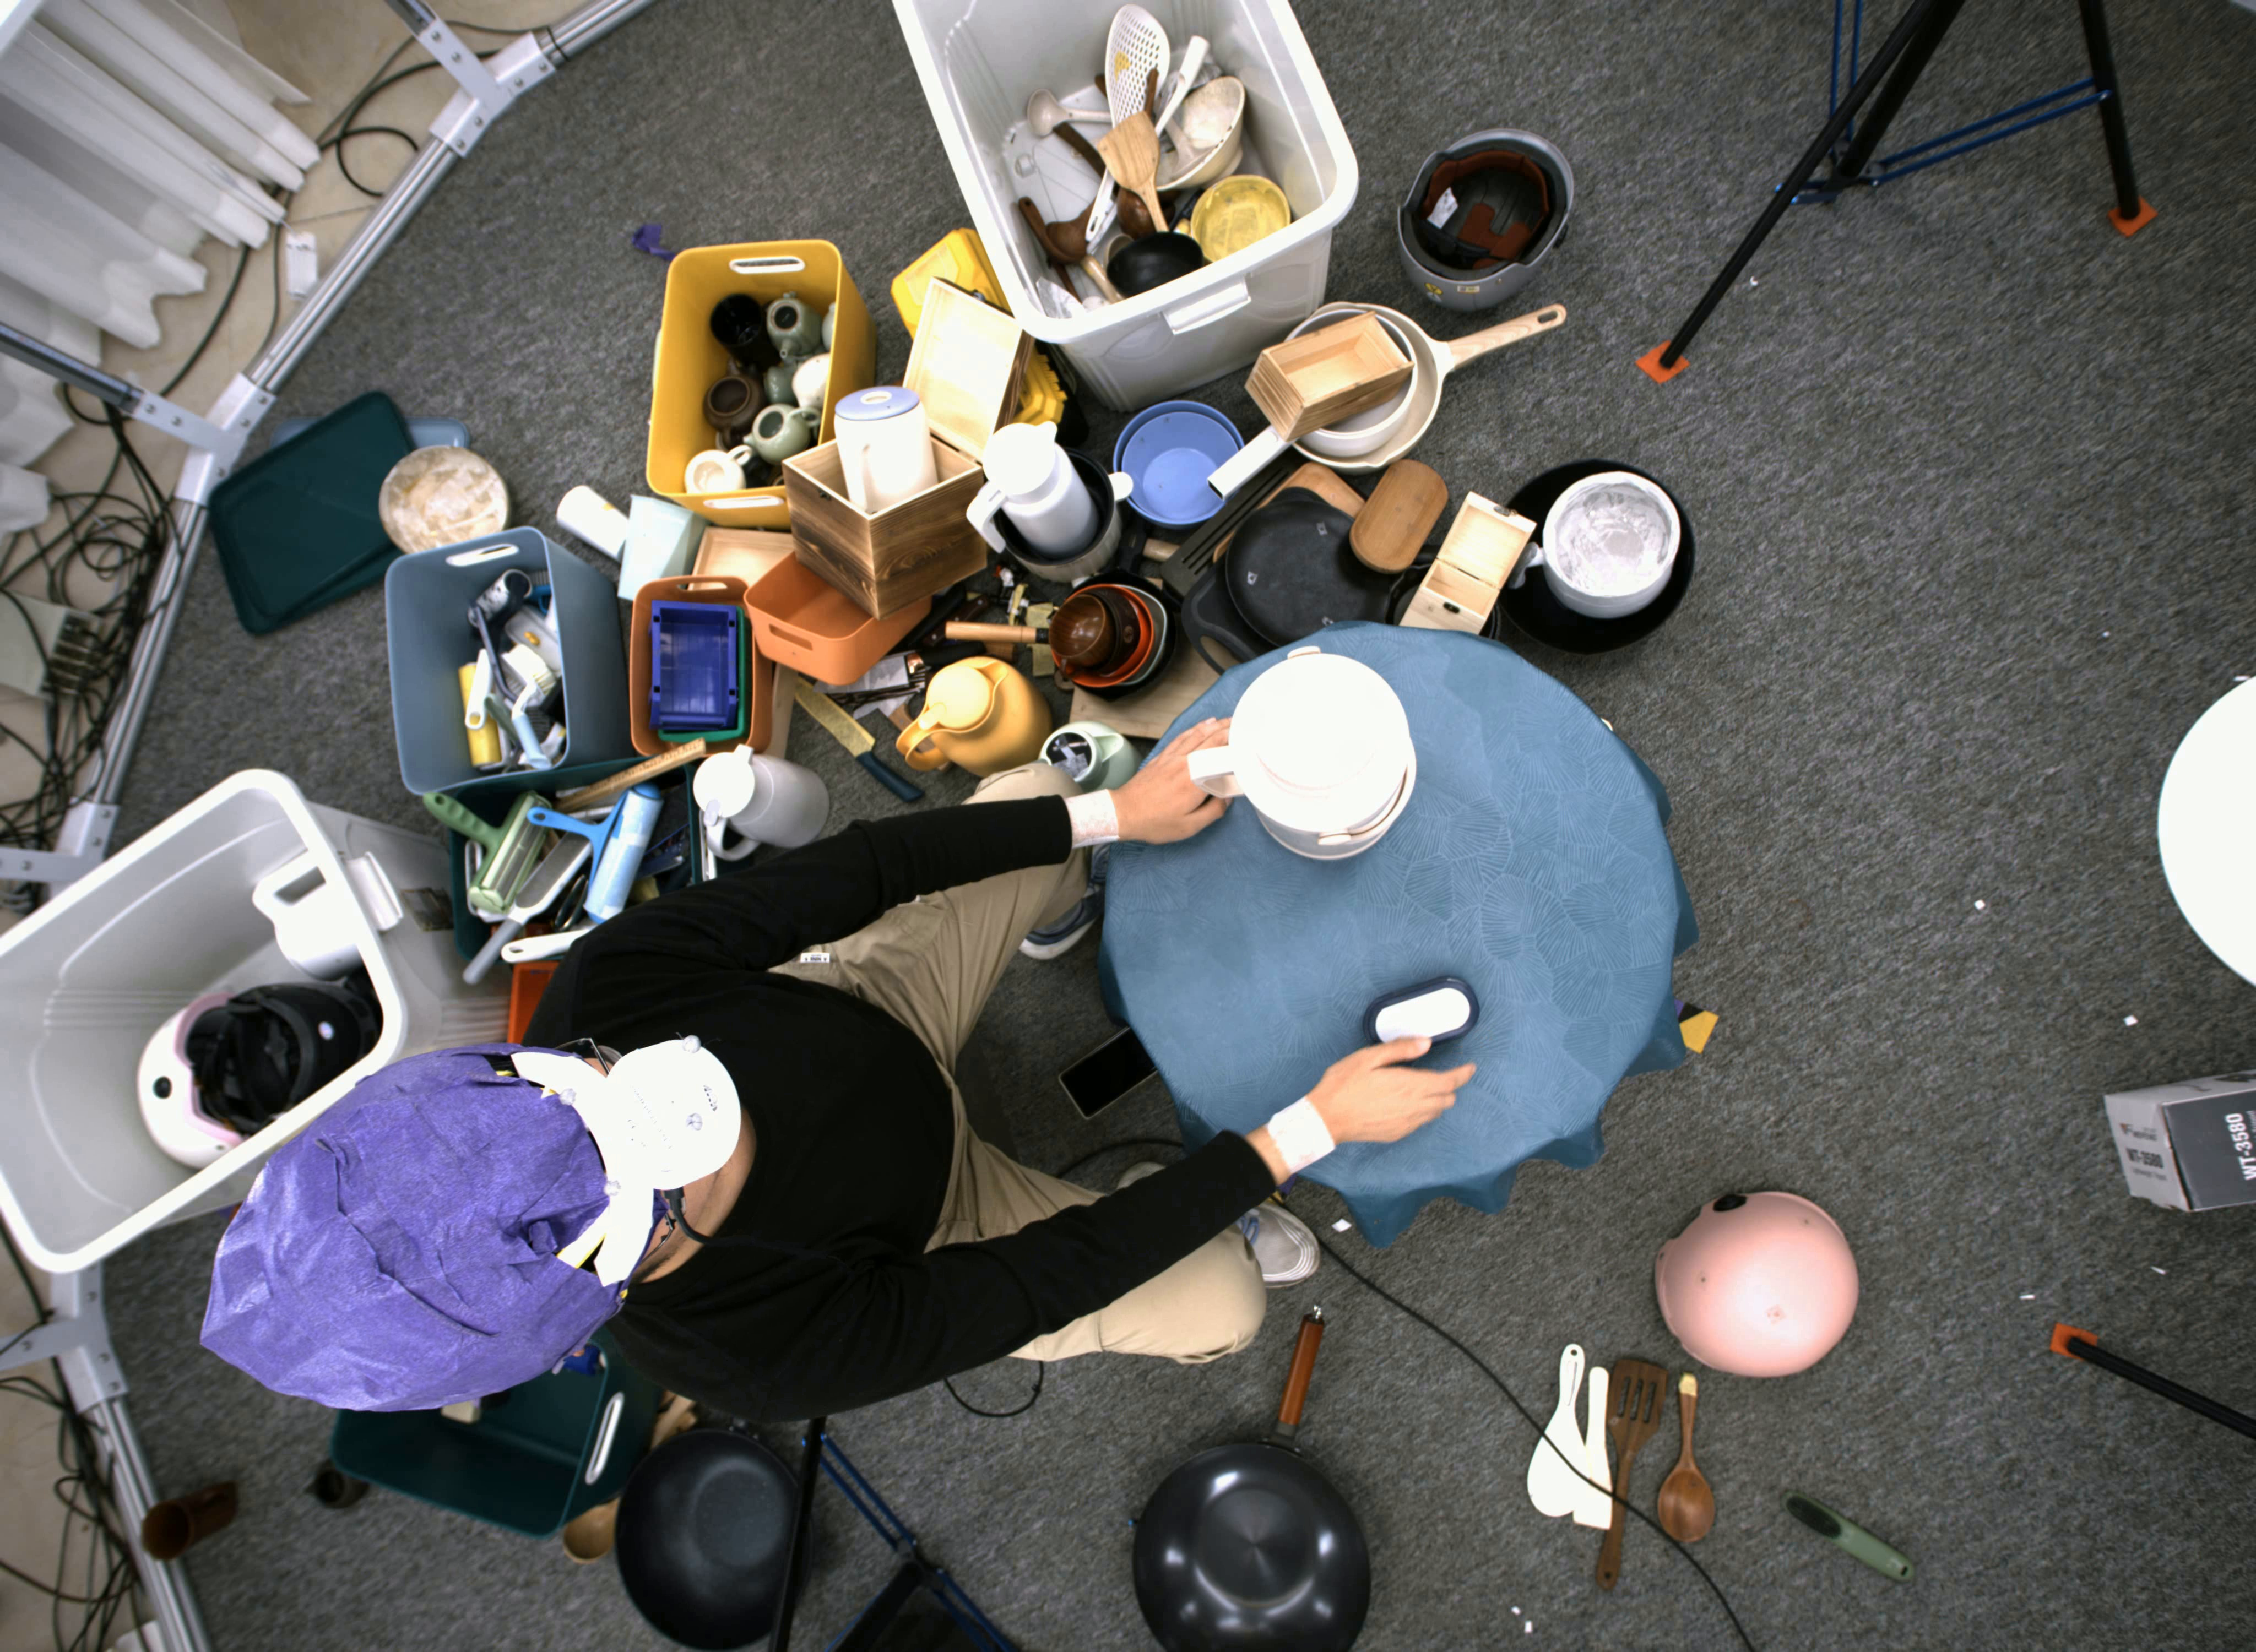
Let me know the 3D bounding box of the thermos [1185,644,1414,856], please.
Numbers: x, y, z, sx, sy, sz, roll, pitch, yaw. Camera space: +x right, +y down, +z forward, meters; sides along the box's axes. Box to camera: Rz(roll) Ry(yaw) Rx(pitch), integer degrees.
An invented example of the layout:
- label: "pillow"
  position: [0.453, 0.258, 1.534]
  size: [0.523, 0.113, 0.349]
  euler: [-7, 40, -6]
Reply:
- label: "thermos"
  position: [0.165, -0.065, 1.286]
  size: [0.208, 0.406, 0.174]
  euler: [-10, 84, 8]

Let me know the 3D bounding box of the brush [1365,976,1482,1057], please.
- label: "brush"
  position: [0.304, 0.194, 1.420]
  size: [0.122, 0.061, 0.067]
  euler: [-17, 82, 8]
